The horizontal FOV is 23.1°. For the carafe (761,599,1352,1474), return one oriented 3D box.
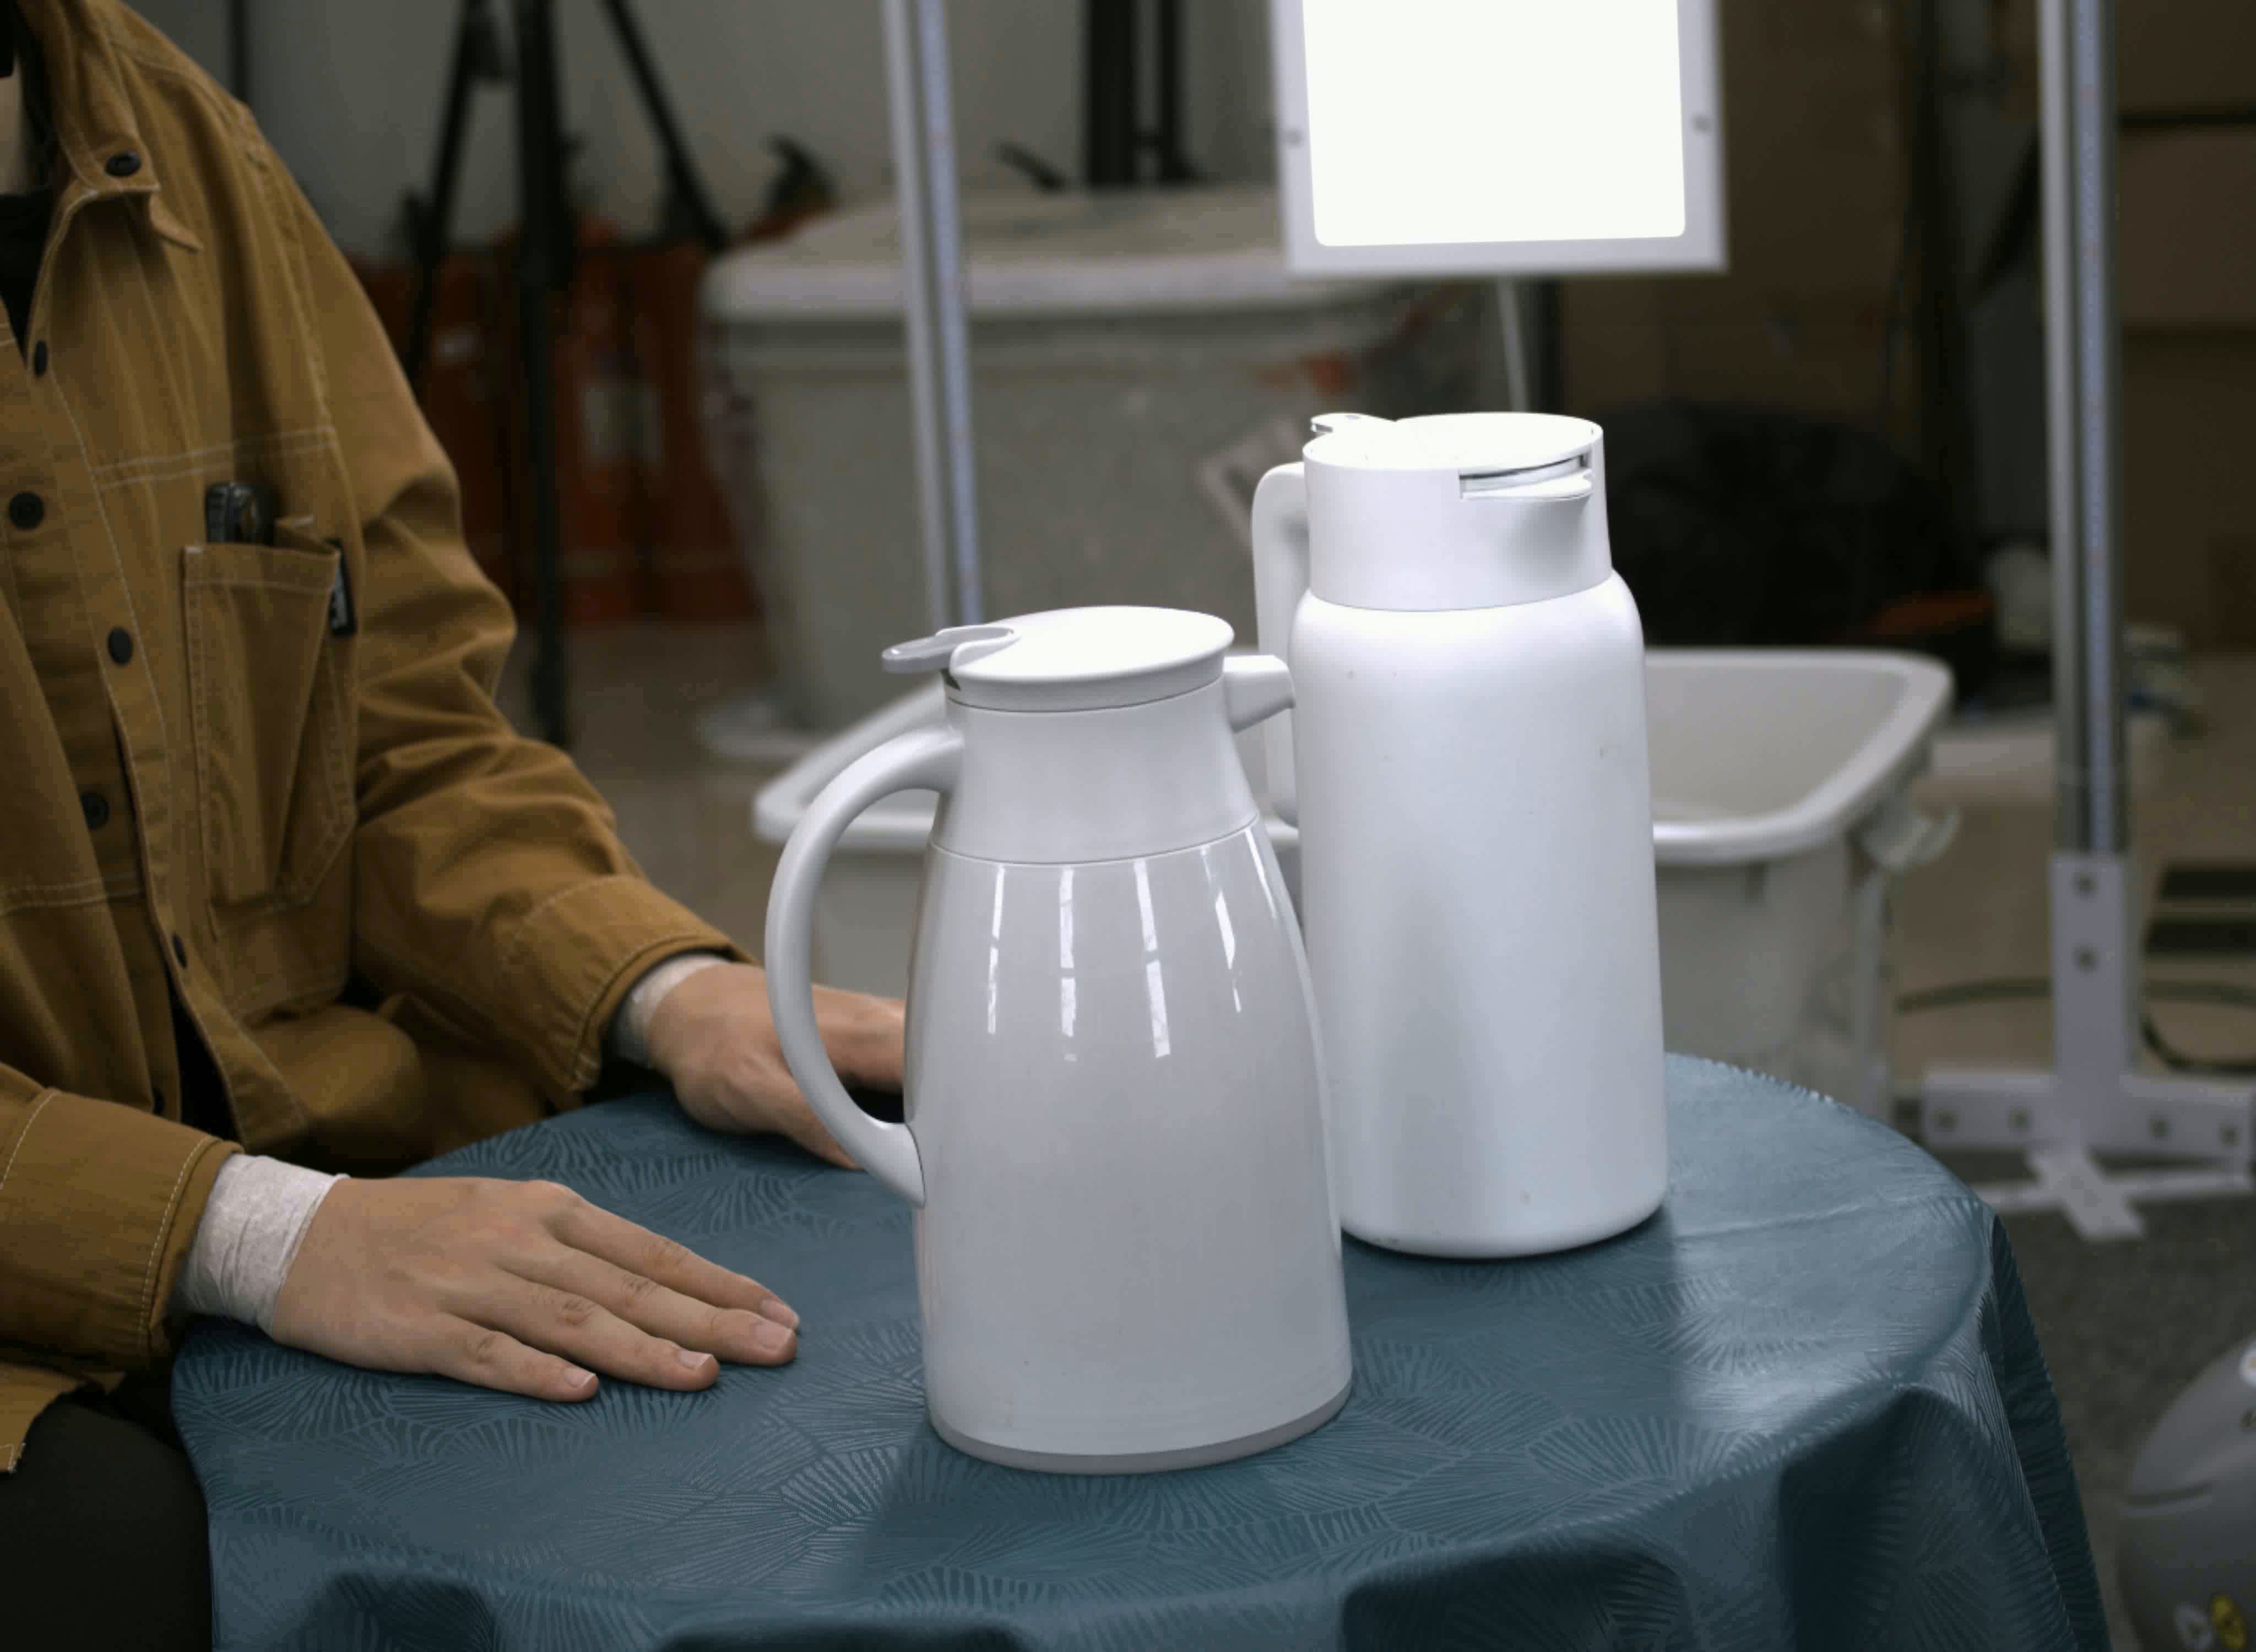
[{"bbox_3d":[-0.024,0.059,1.659,0.166,0.249,0.133,-8,14,-11],"label":"carafe"}]

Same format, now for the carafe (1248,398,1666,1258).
[{"bbox_3d":[0.103,-0.002,1.822,0.121,0.270,0.176,-15,17,-29],"label":"carafe"}]
